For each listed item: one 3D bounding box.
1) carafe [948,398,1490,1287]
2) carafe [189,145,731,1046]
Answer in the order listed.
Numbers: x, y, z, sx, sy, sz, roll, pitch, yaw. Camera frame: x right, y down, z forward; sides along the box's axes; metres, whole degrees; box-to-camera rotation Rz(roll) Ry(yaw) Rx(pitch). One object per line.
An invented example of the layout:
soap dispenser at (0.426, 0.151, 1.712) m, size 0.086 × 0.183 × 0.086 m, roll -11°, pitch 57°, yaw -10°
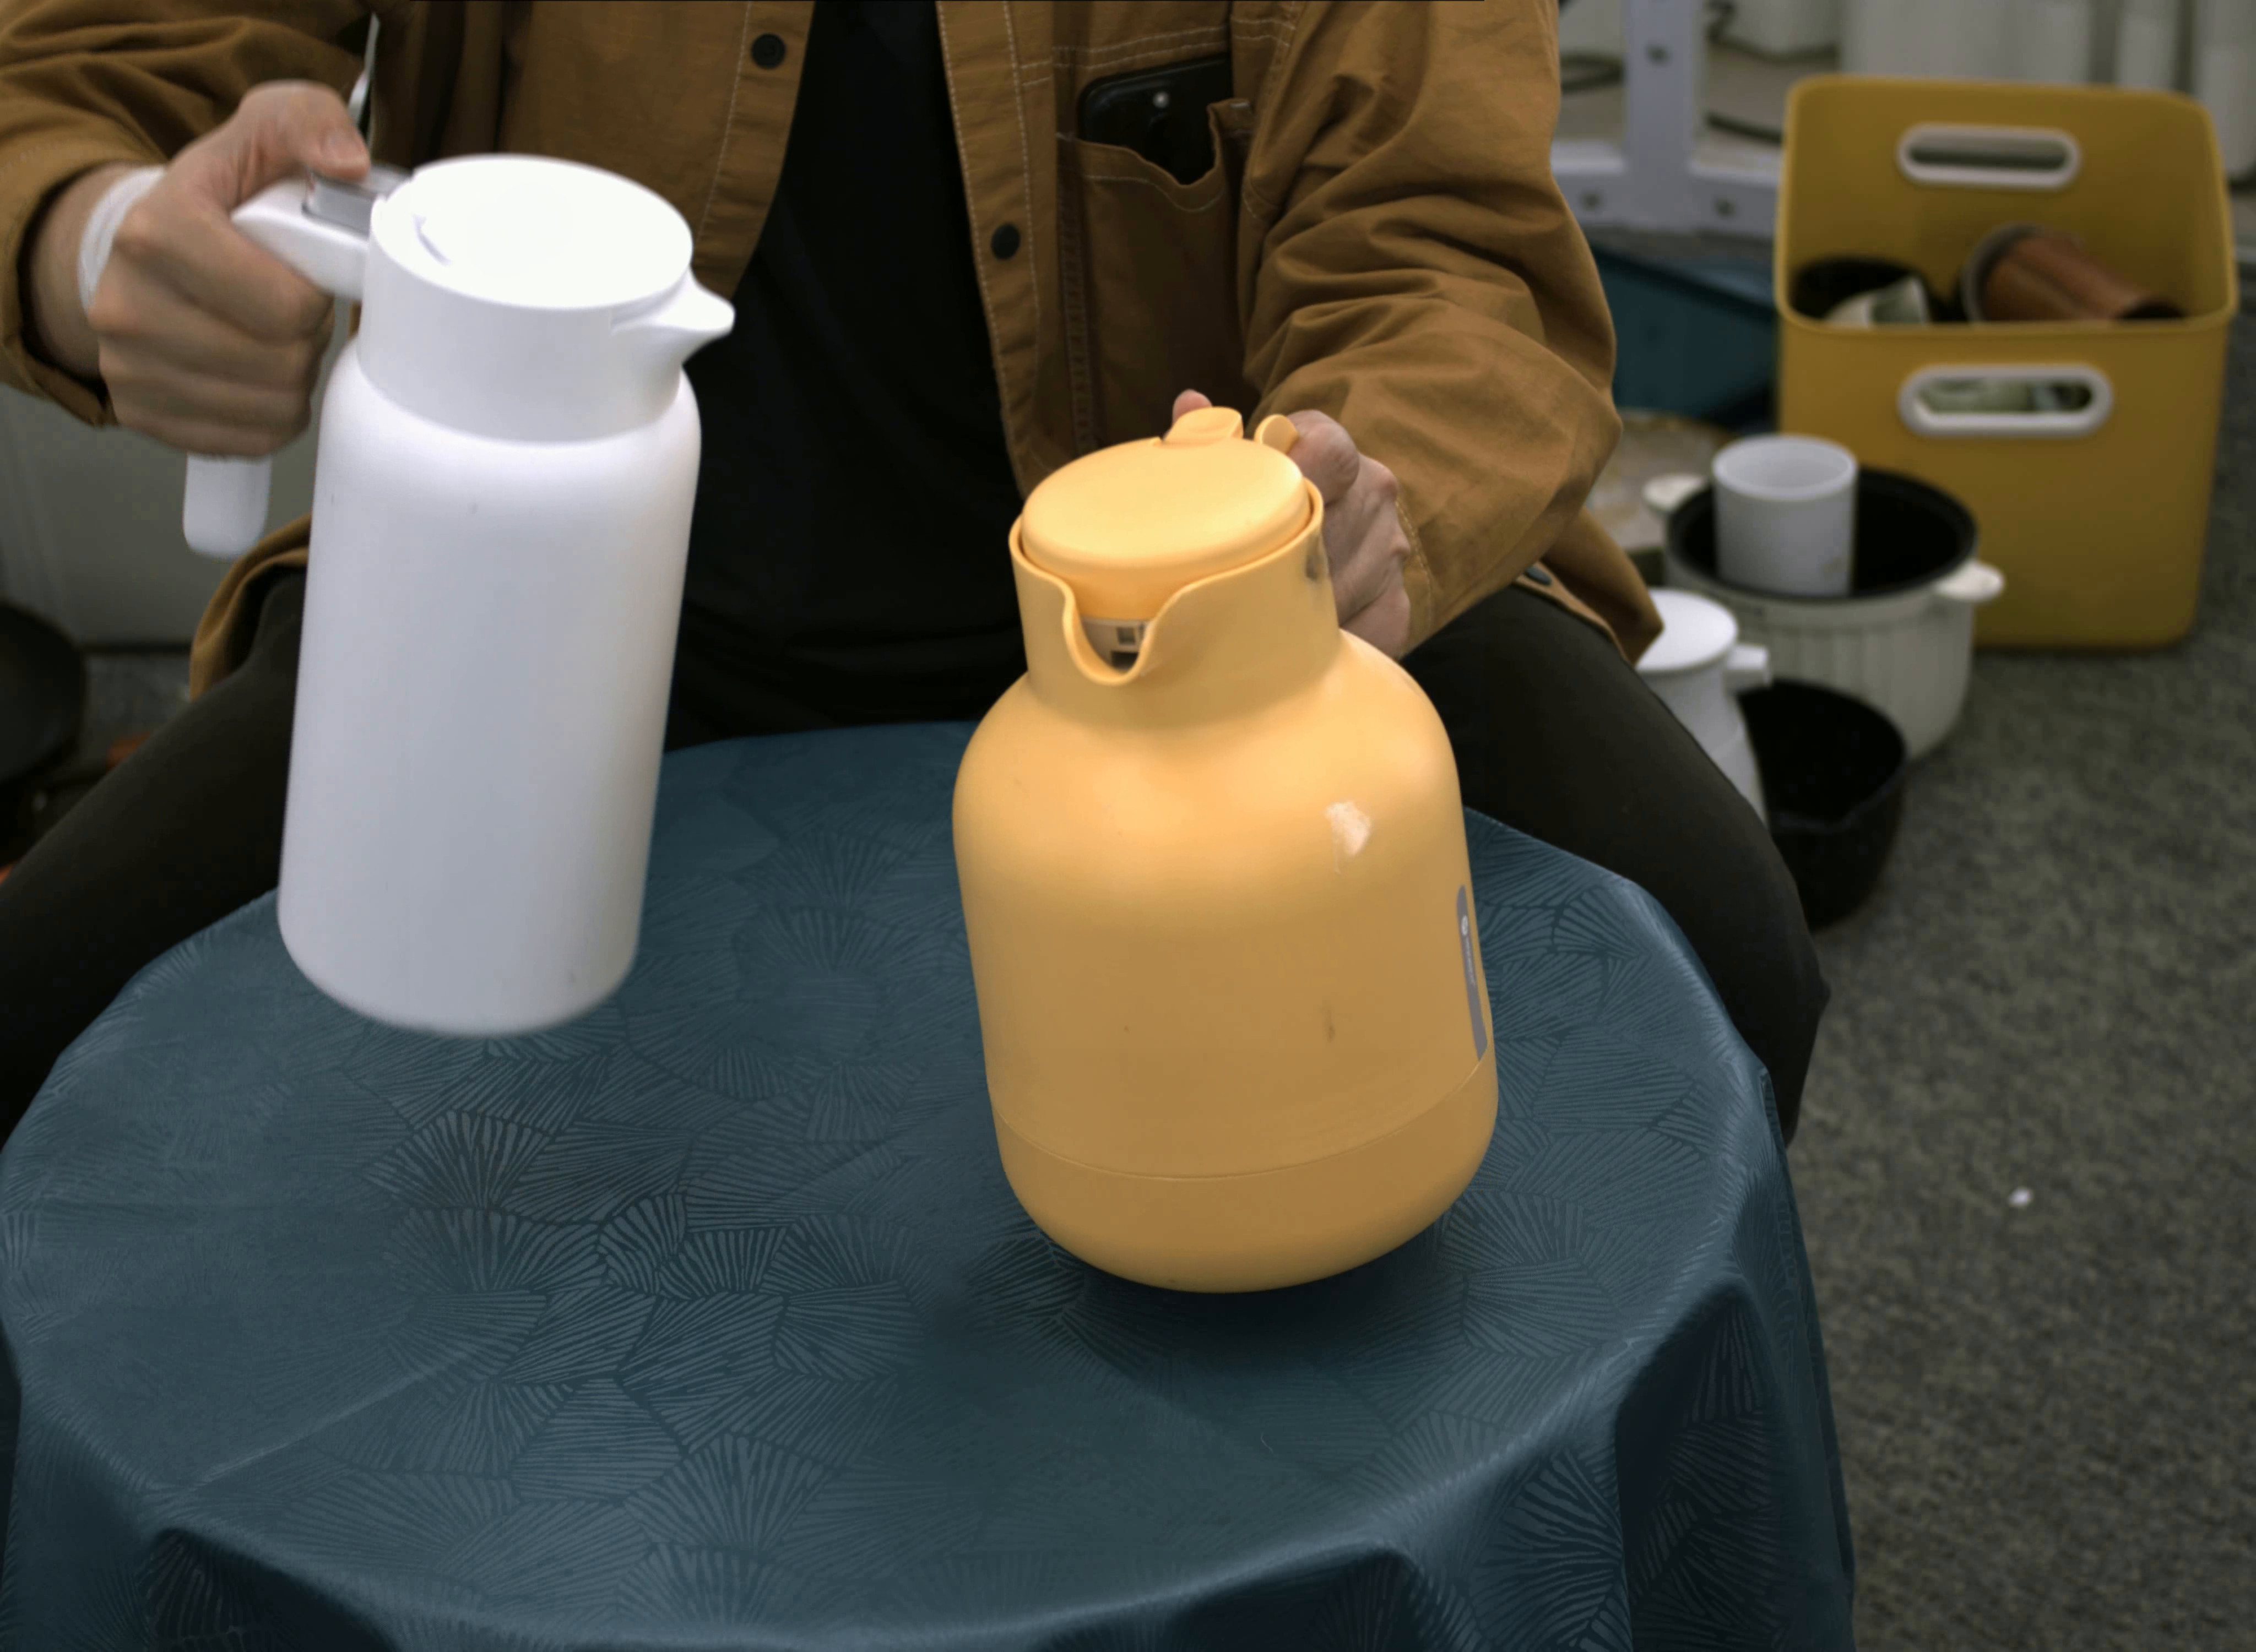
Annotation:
carafe at (0.032, -0.004, 1.782) m, size 0.162 × 0.257 × 0.206 m, roll 4°, pitch 30°, yaw 18°
carafe at (-0.215, -0.074, 1.770) m, size 0.172 × 0.265 × 0.126 m, roll 18°, pitch 33°, yaw 15°
